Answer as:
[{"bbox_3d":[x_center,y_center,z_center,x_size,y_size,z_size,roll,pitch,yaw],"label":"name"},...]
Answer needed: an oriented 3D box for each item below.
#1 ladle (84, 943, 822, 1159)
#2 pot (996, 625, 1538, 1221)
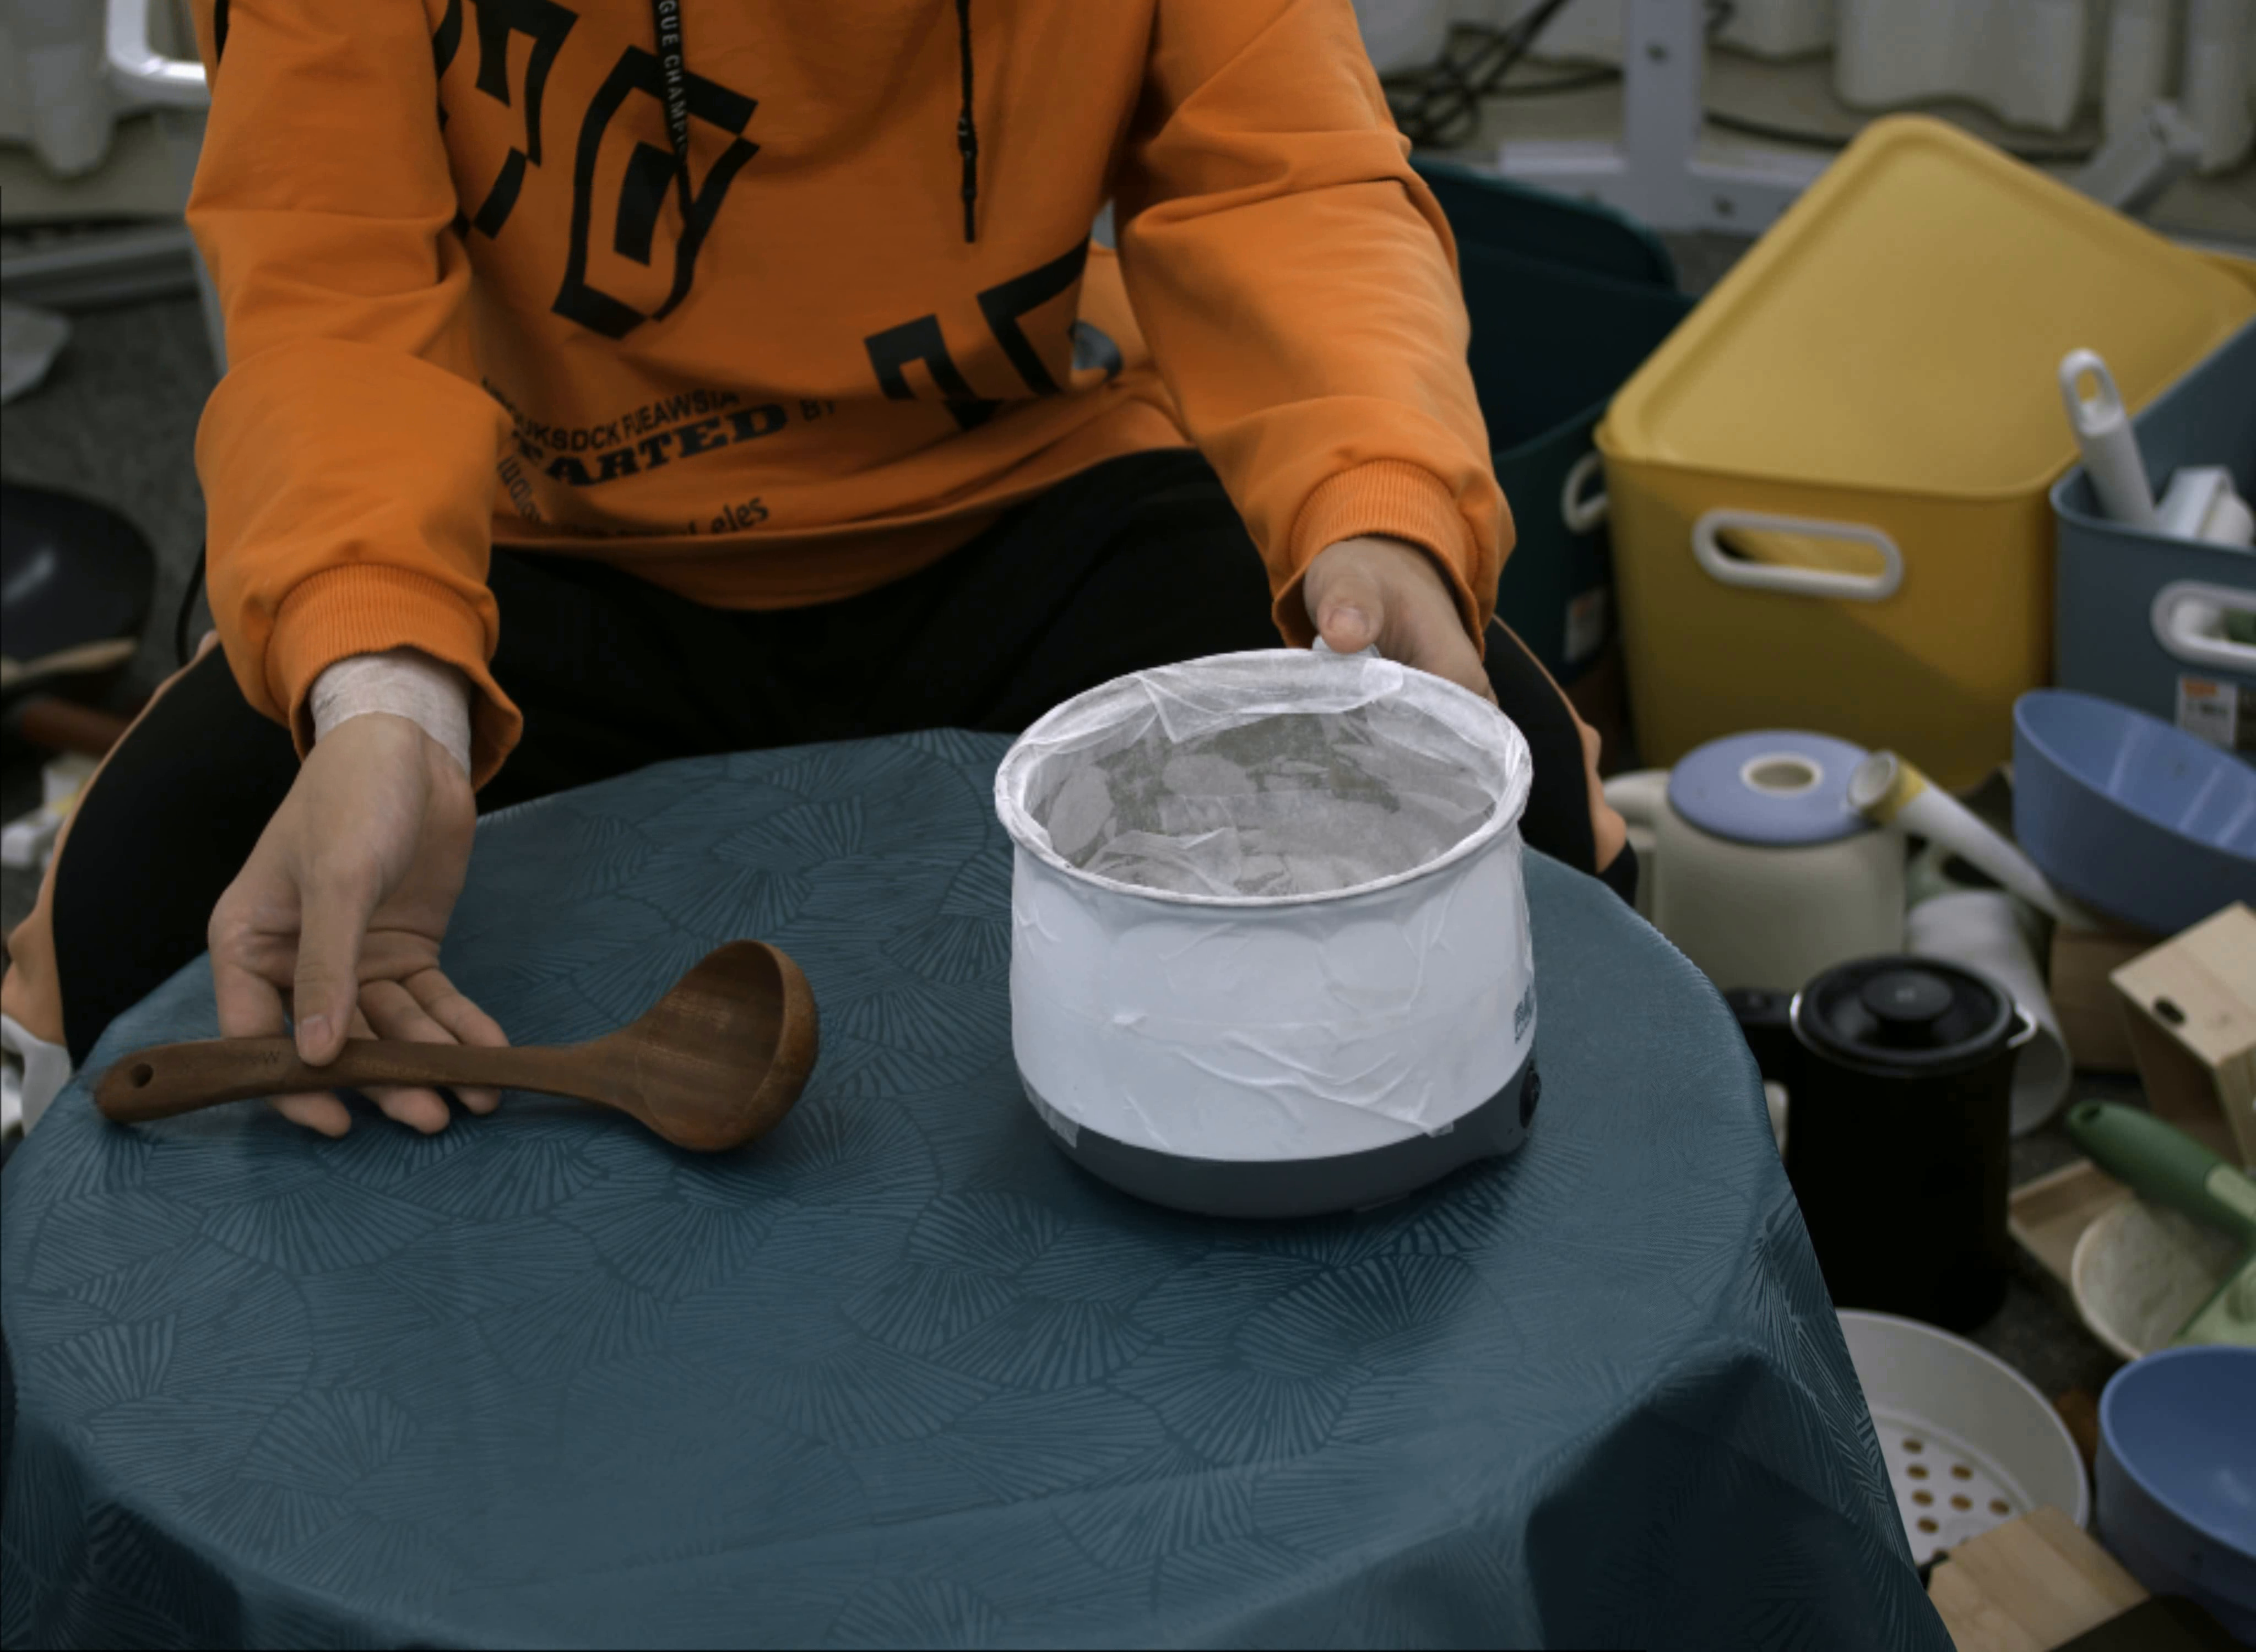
[{"bbox_3d":[-0.231,0.078,1.904,0.259,0.064,0.078,0,54,4],"label":"ladle"},{"bbox_3d":[0.055,0.025,1.895,0.177,0.135,0.238,5,28,14],"label":"pot"}]
